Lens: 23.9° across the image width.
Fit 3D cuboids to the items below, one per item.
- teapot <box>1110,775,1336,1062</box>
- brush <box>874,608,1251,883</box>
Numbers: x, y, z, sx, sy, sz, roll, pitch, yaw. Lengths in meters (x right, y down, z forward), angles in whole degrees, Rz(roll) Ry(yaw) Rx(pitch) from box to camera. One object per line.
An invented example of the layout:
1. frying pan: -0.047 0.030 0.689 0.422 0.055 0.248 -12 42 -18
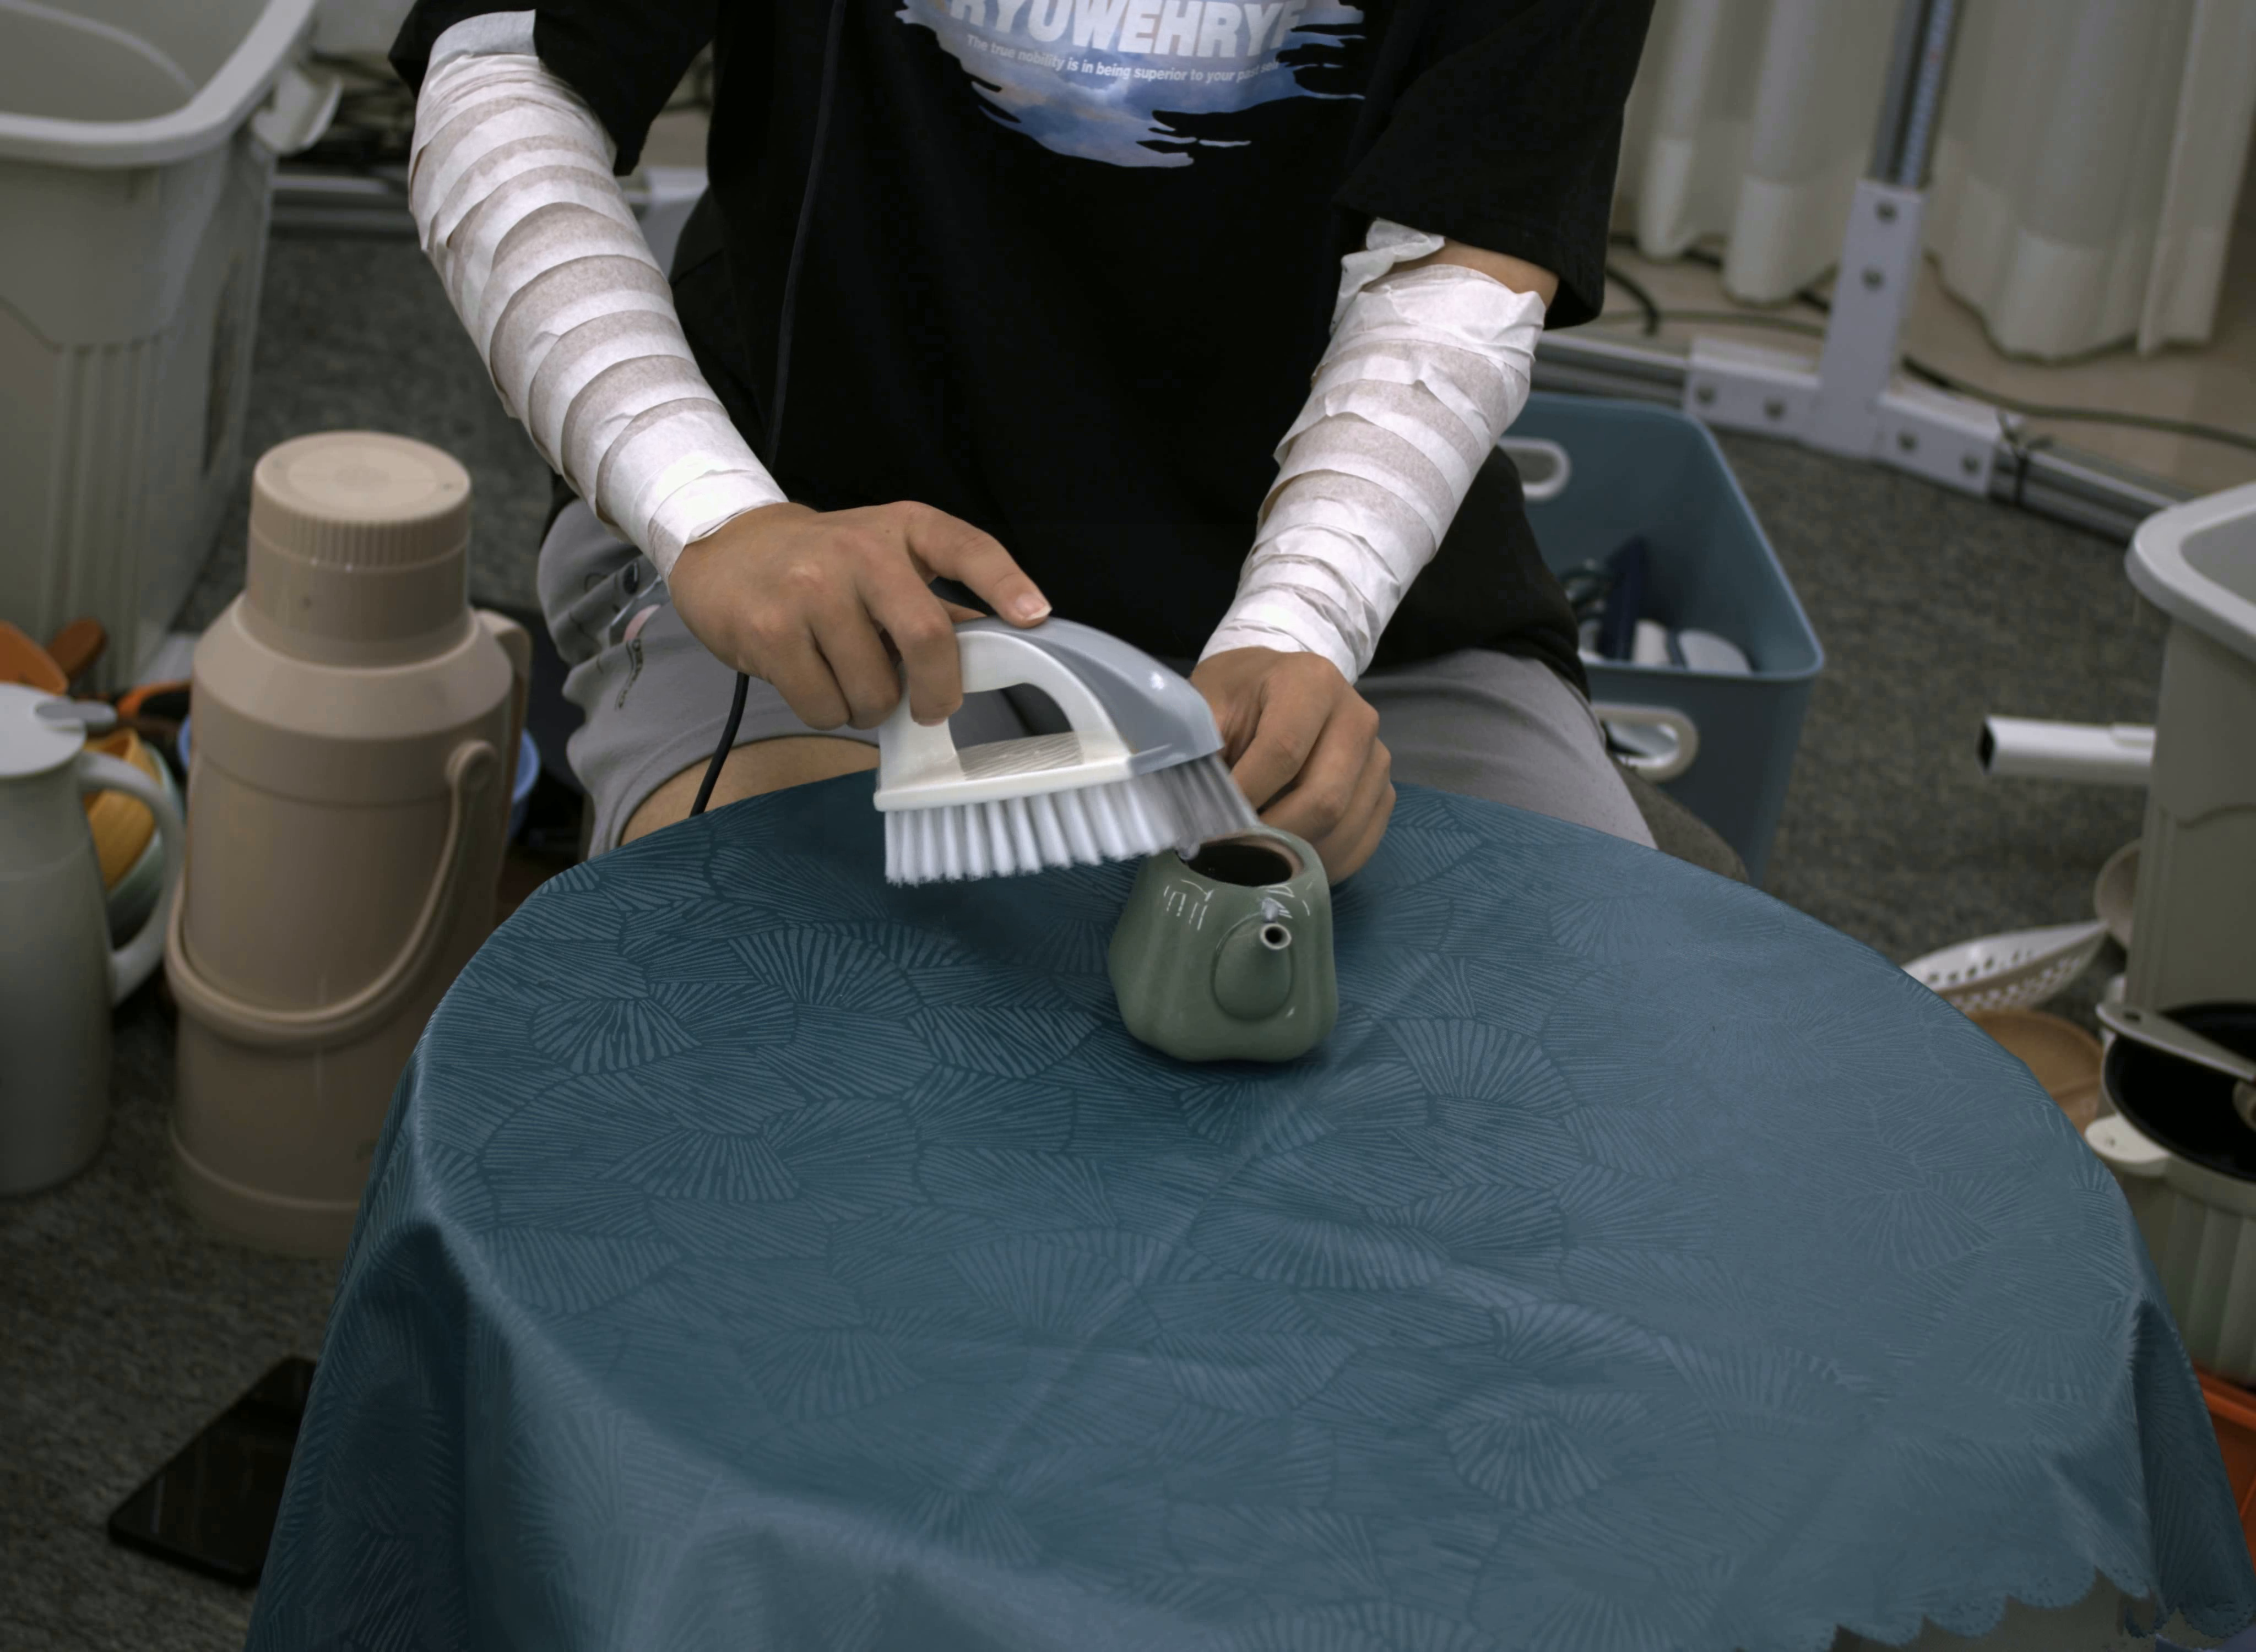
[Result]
1. teapot: 0.037 0.038 1.901 0.079 0.075 0.133 5 25 -9
2. brush: -0.027 -0.034 1.902 0.061 0.094 0.176 -28 16 -37
